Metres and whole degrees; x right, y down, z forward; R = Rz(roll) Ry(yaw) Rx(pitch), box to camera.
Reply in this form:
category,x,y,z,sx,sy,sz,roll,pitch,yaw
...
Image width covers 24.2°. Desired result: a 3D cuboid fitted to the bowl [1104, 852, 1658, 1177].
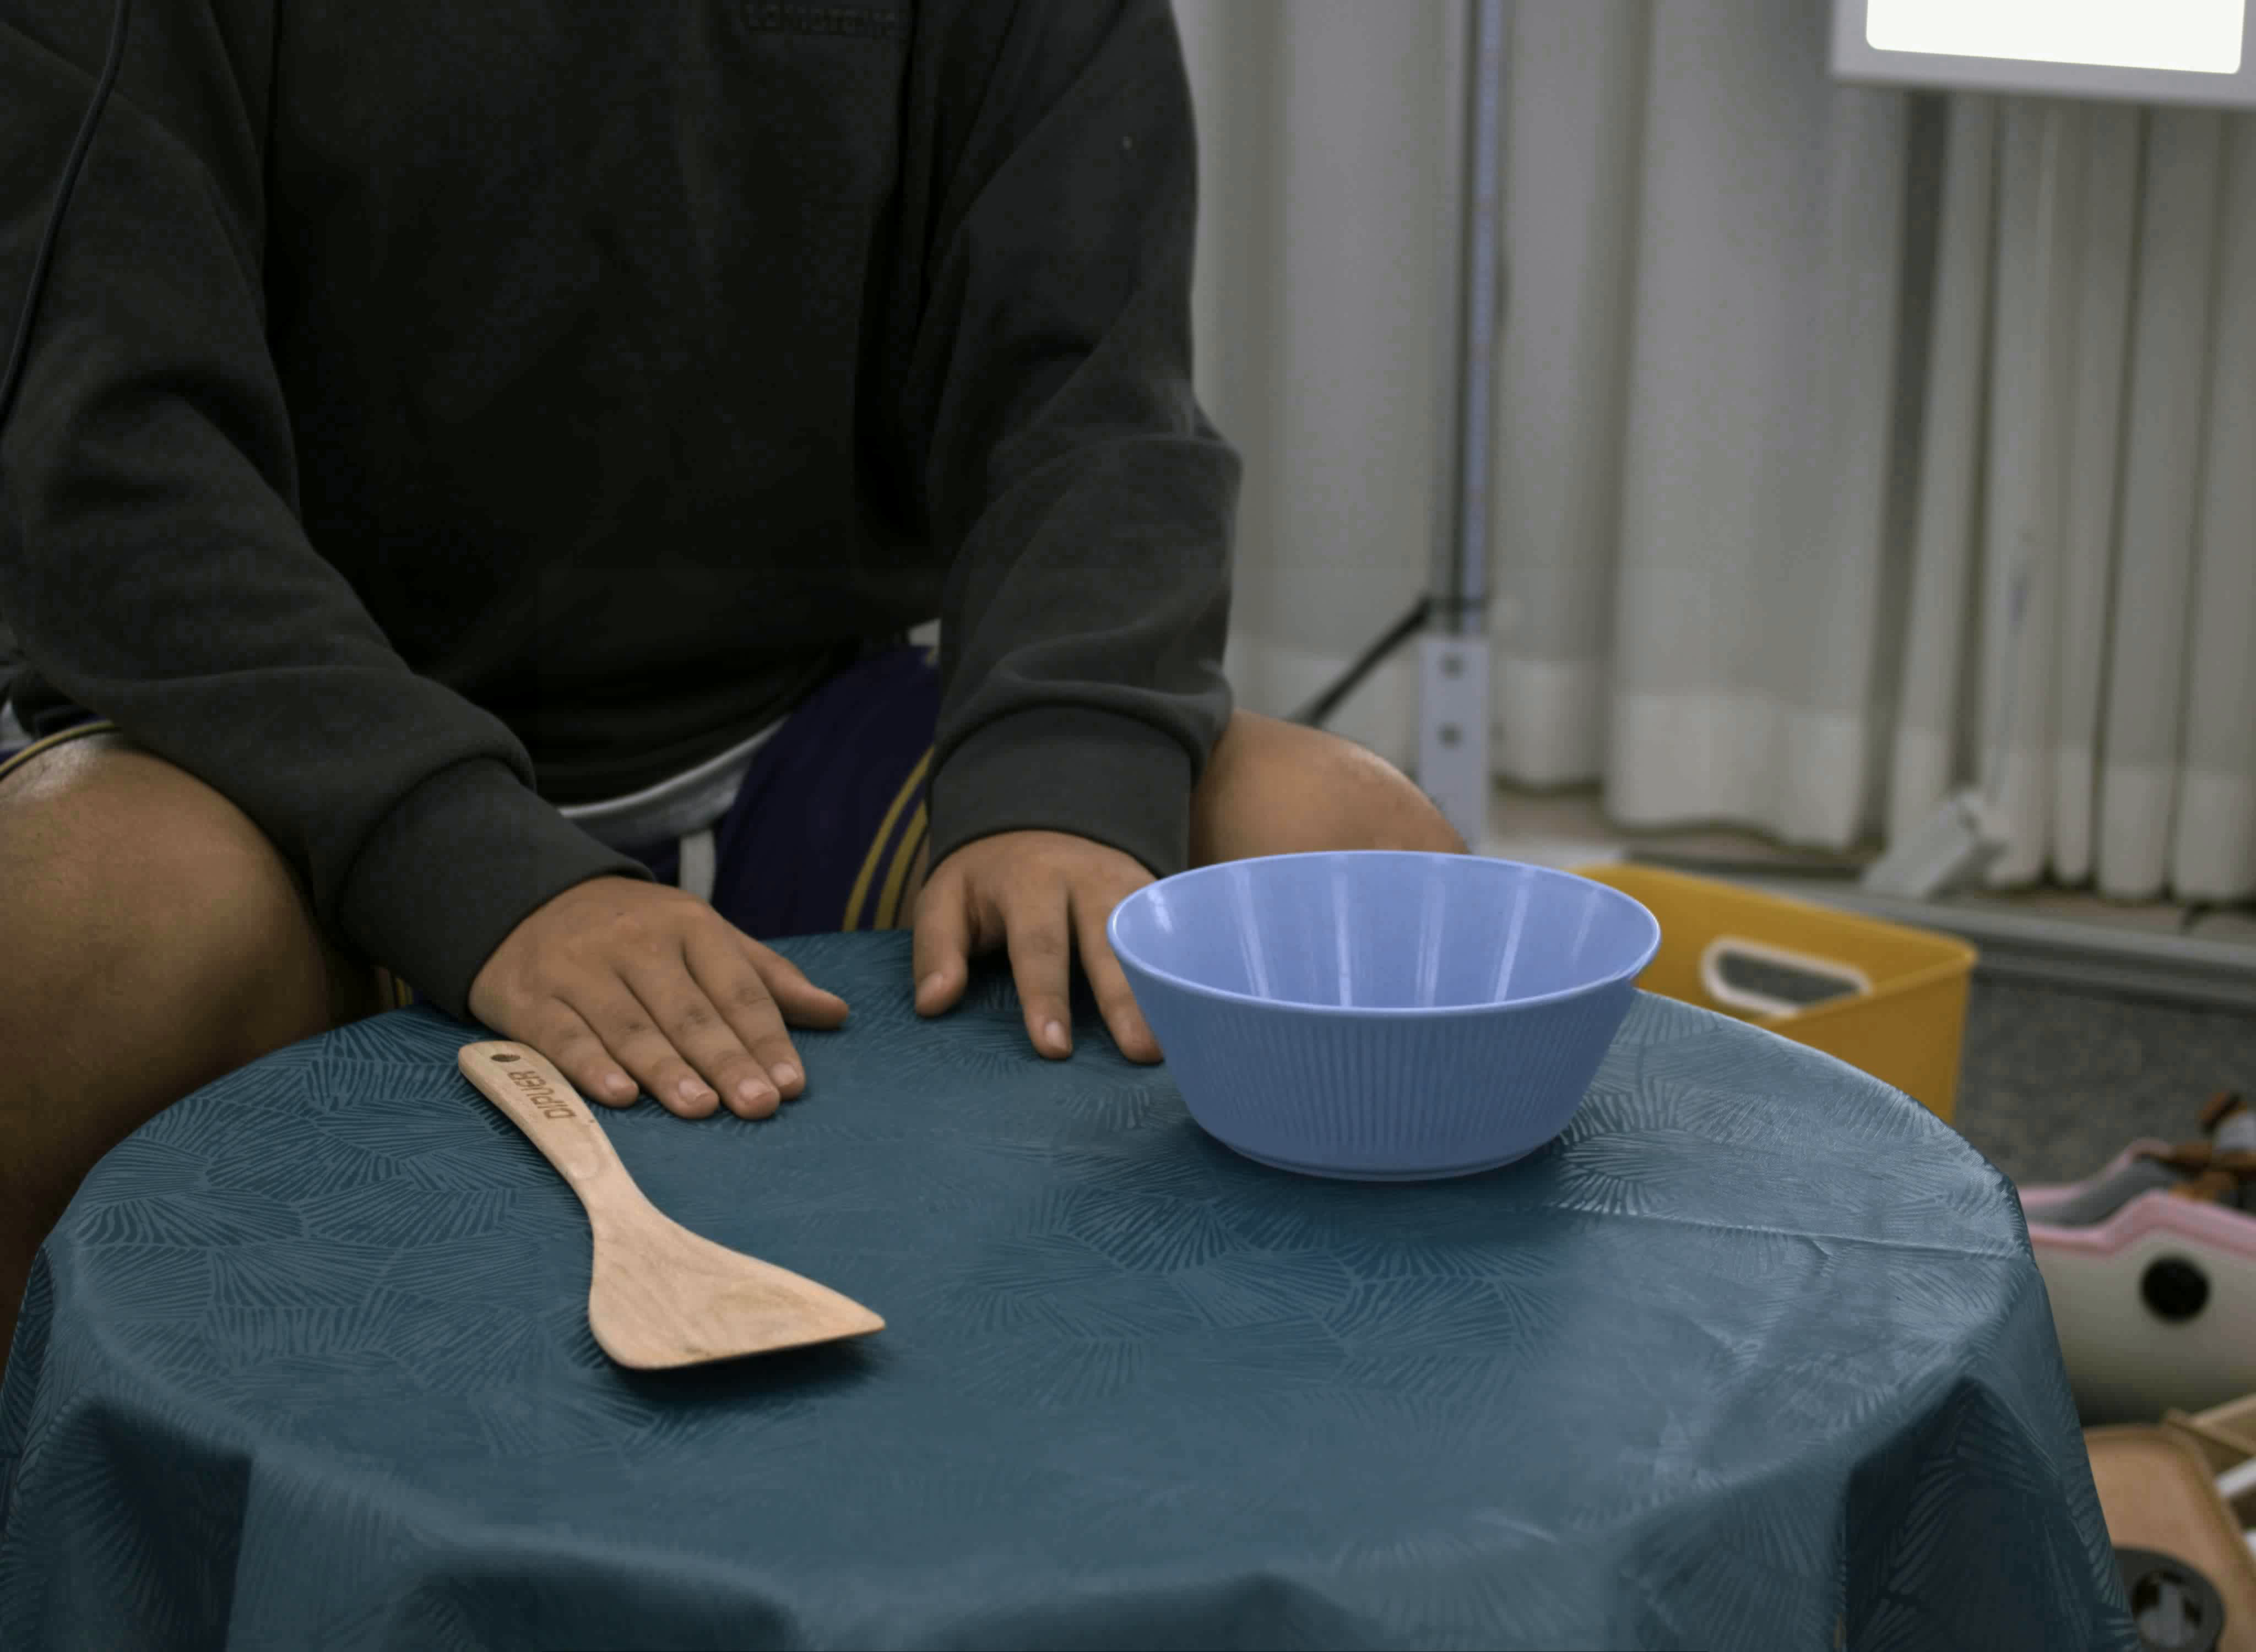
category,x,y,z,sx,sy,sz,roll,pitch,yaw
bowl,0.080,0.062,1.675,0.175,0.071,0.175,1,16,0

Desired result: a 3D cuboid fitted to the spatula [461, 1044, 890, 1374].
category,x,y,z,sx,sy,sz,roll,pitch,yaw
spatula,-0.153,0.111,1.592,0.080,0.016,0.324,-6,17,-20
